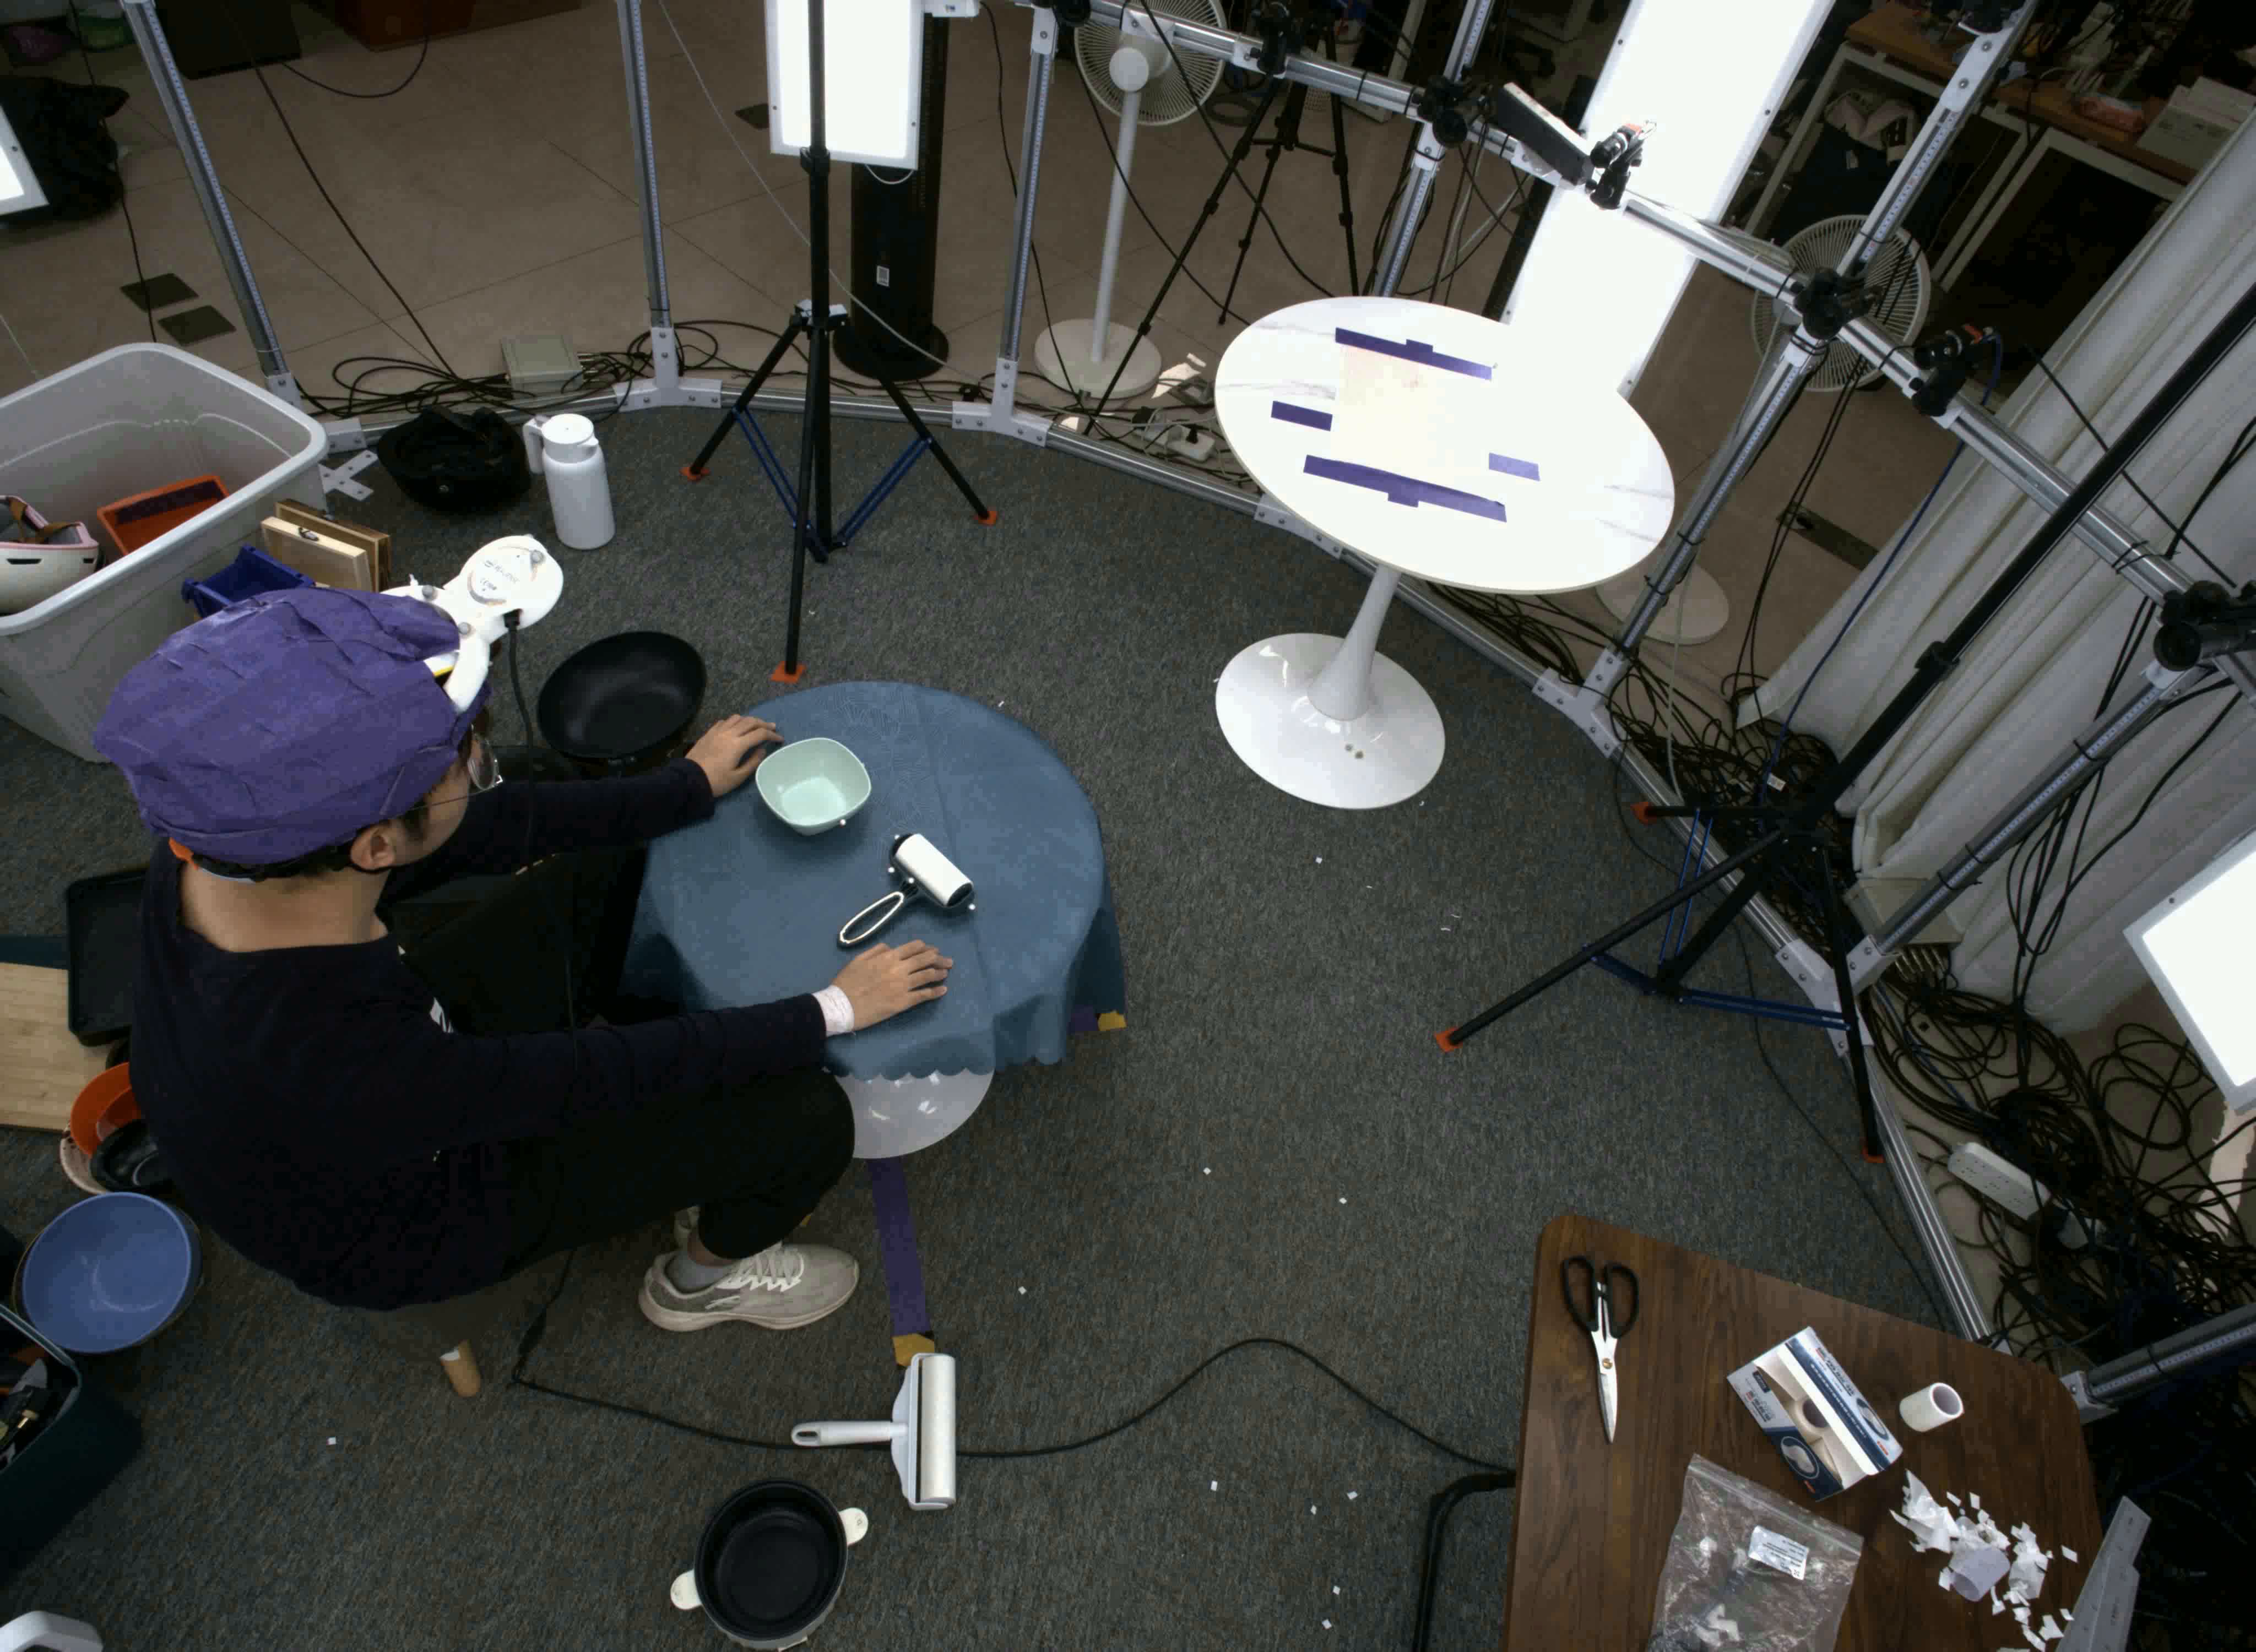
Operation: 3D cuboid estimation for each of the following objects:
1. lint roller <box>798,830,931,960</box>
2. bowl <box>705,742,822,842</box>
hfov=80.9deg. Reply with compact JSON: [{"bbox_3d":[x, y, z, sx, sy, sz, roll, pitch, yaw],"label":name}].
[{"bbox_3d":[-0.353,0.099,1.655,0.131,0.049,0.180,38,58,15],"label":"lint roller"},{"bbox_3d":[-0.481,-0.036,1.710,0.151,0.060,0.149,9,51,-10],"label":"bowl"}]
